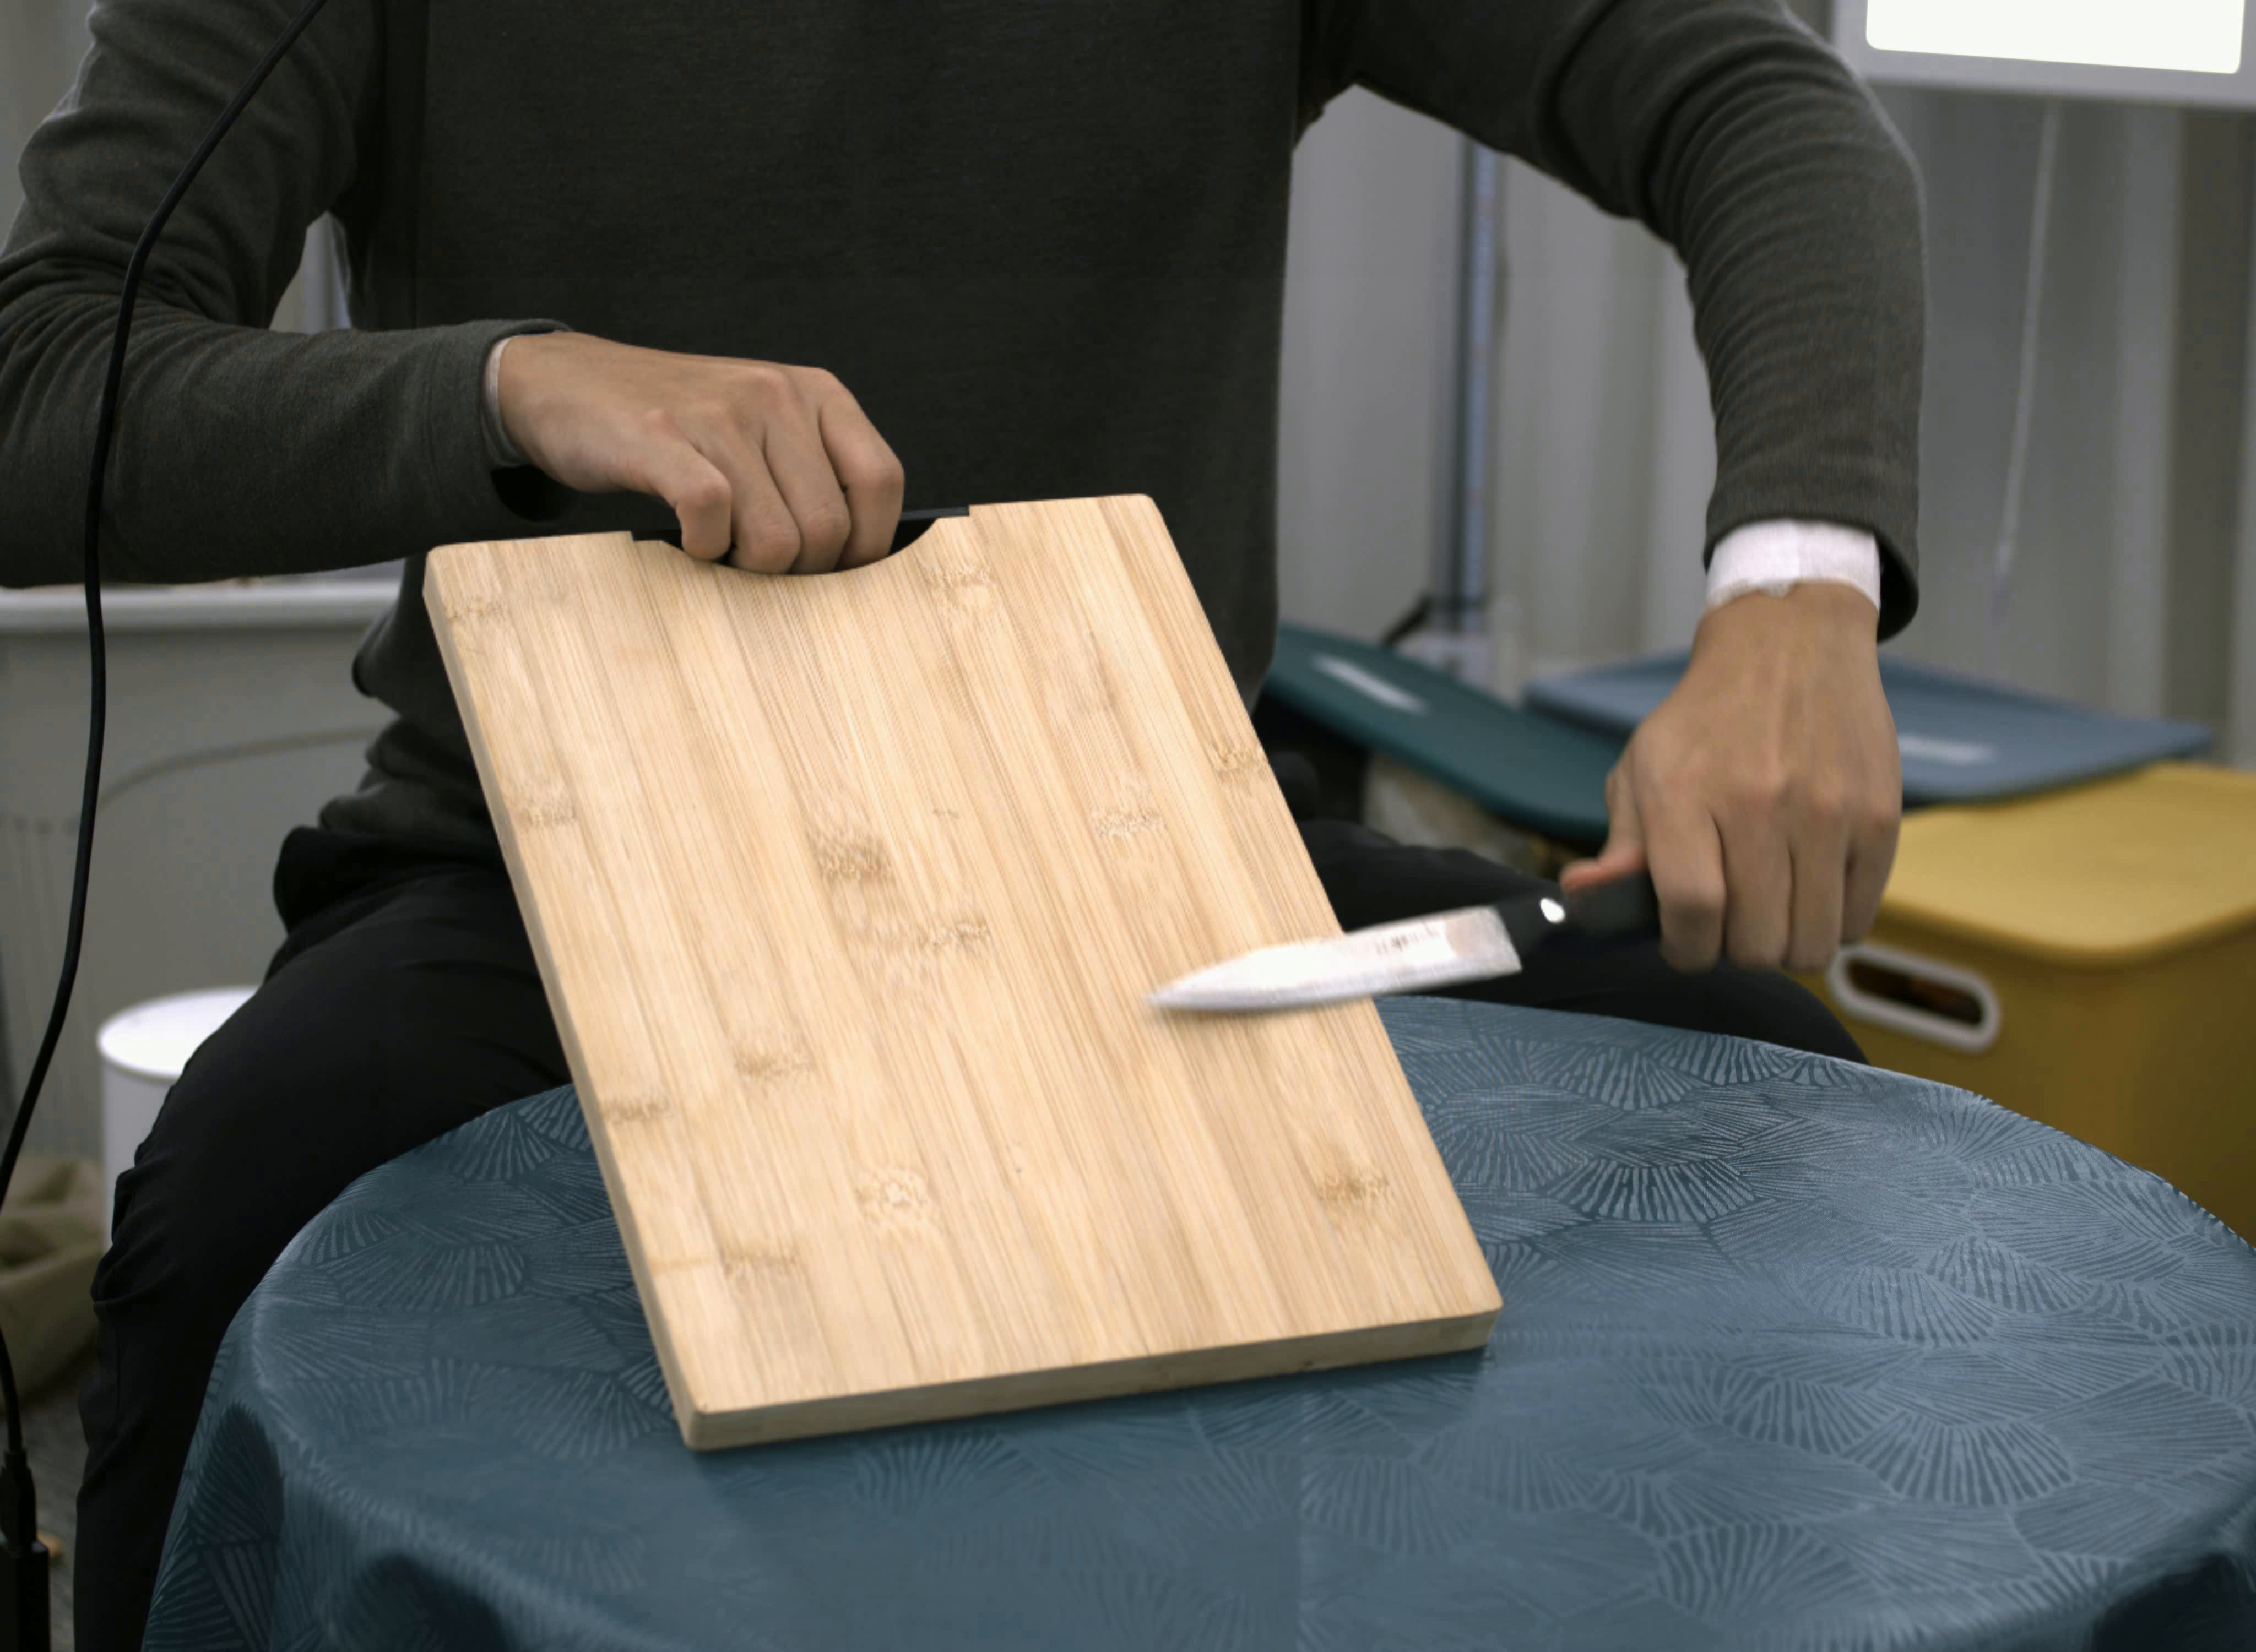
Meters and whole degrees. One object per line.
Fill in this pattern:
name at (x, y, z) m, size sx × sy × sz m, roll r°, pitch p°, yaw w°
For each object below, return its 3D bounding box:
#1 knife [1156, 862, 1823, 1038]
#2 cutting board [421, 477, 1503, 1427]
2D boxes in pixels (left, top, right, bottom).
knife at (0.110, 0.038, 1.583) m, size 0.239 × 0.016 × 0.024 m, roll -11°, pitch 60°, yaw -29°
cutting board at (-0.056, 0.027, 1.559) m, size 0.251 × 0.024 × 0.344 m, roll -5°, pitch 49°, yaw -21°
